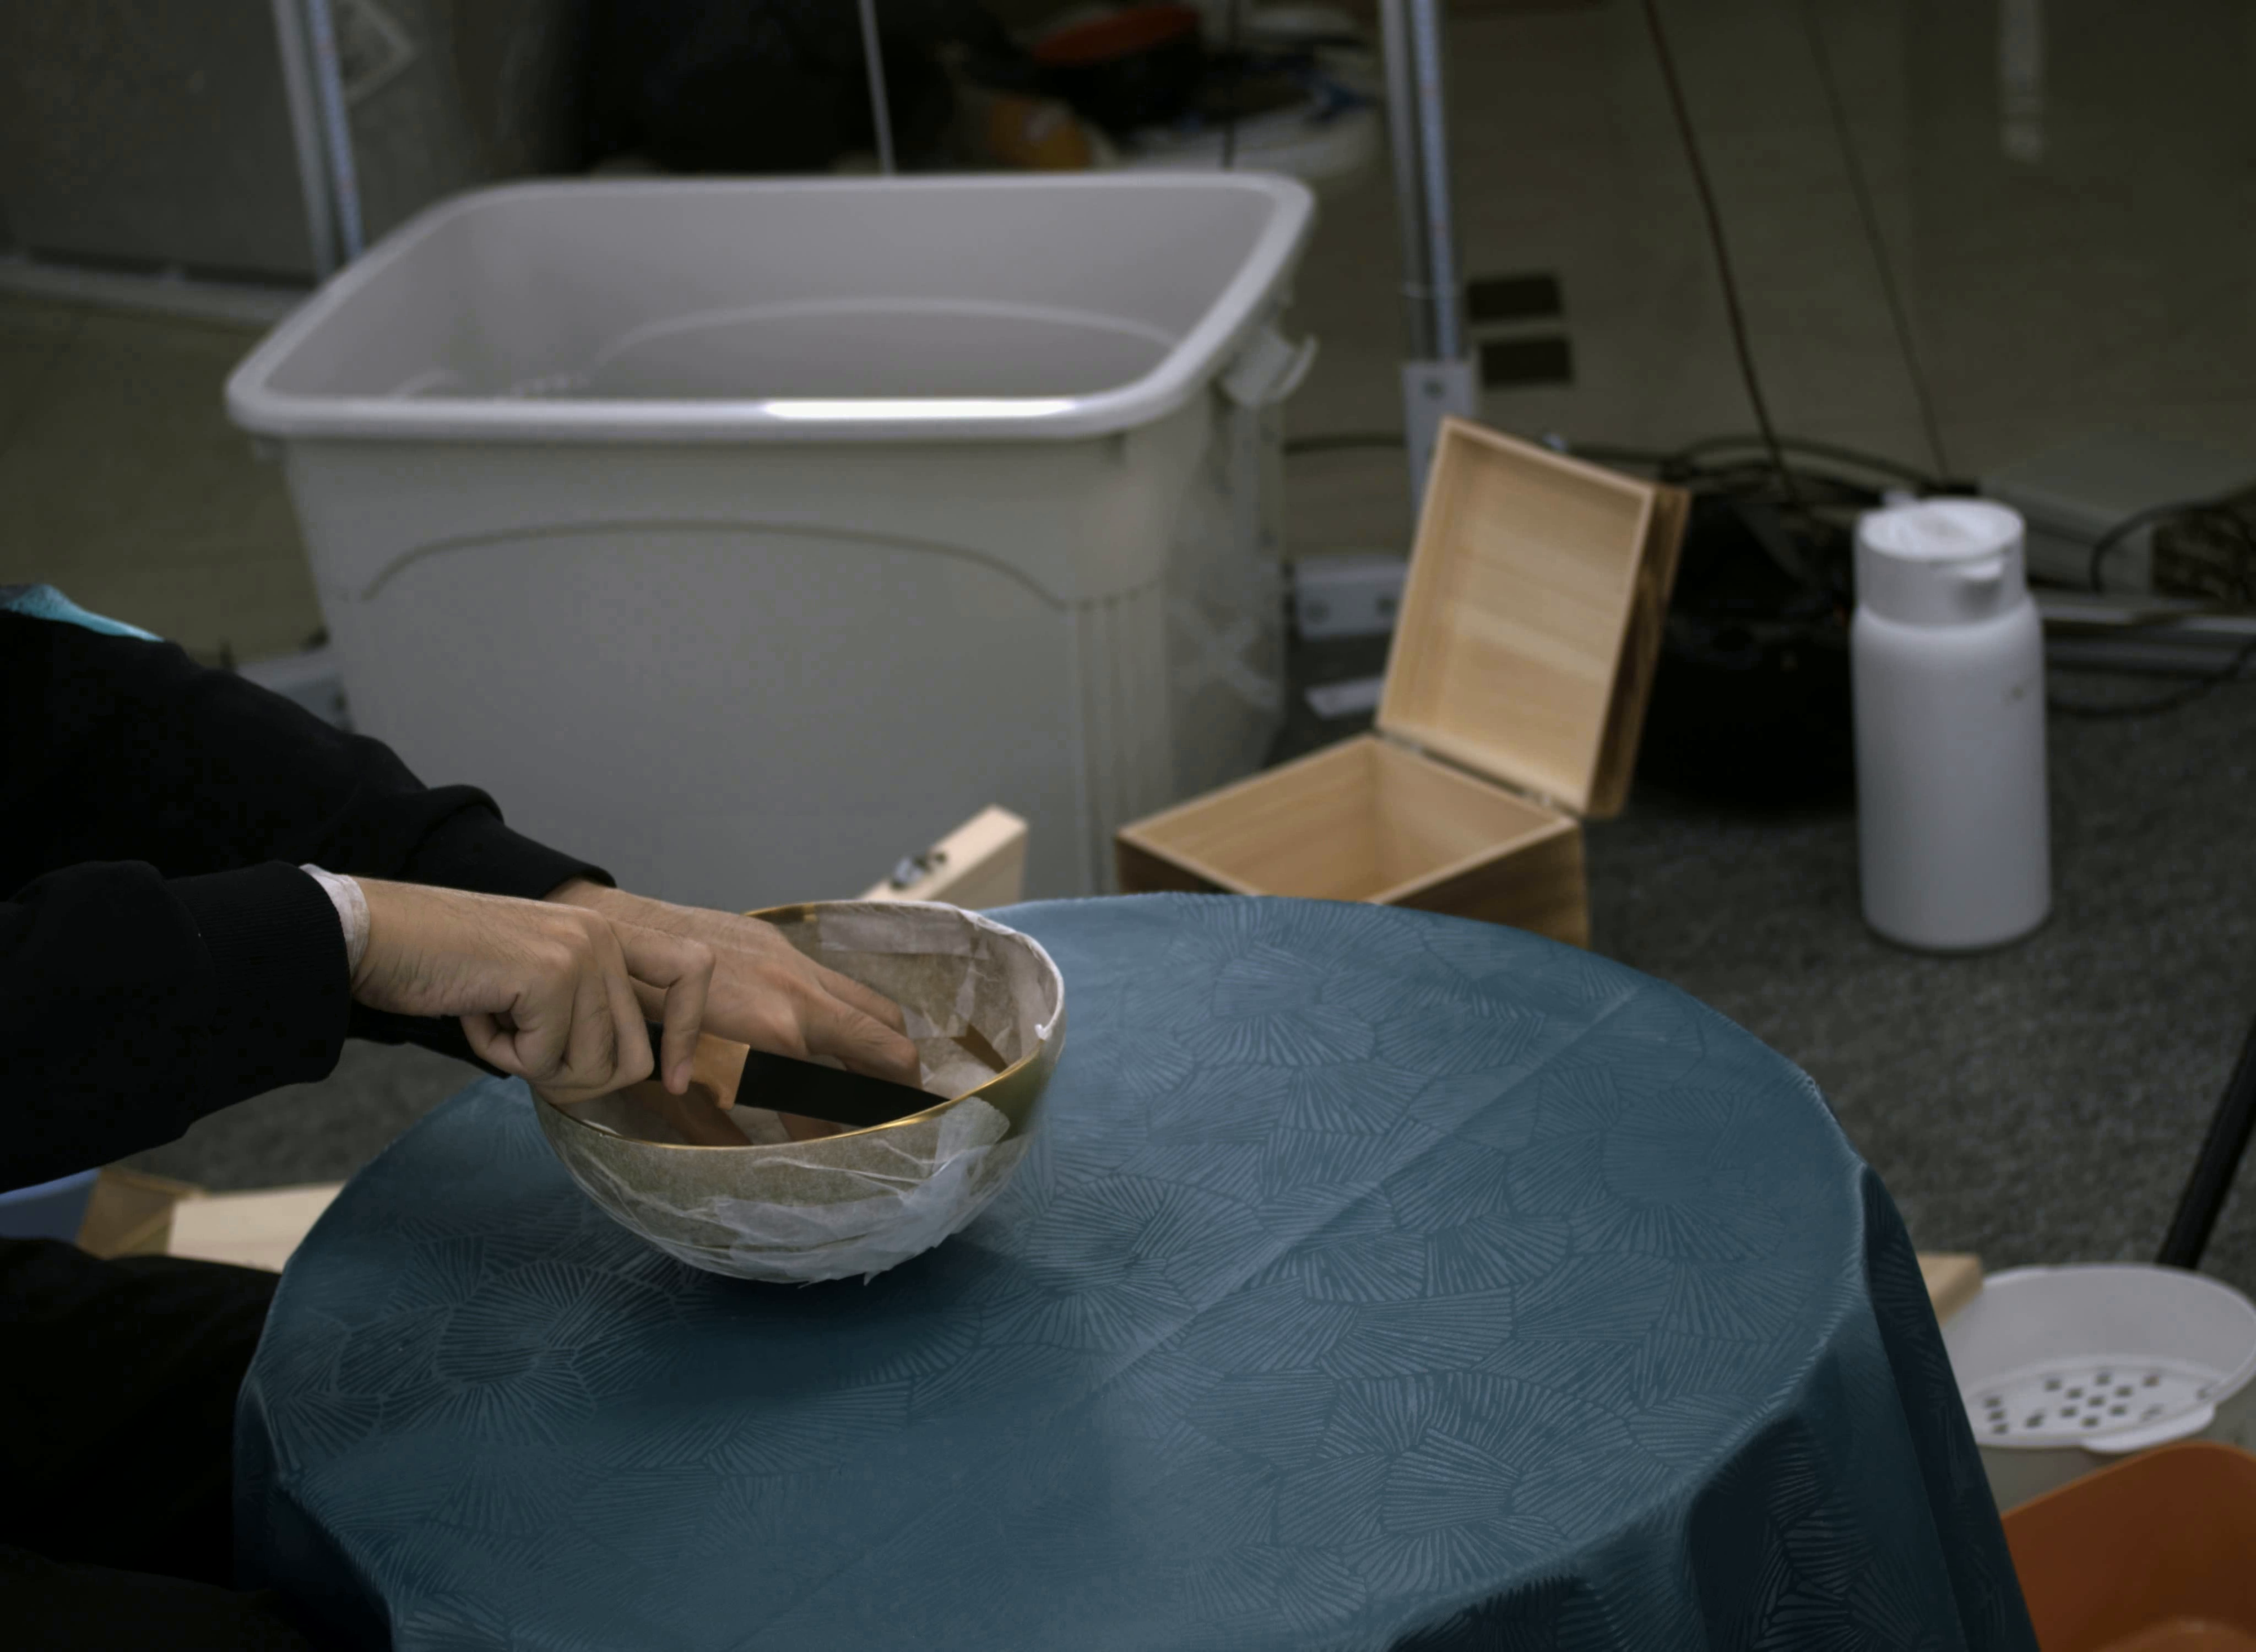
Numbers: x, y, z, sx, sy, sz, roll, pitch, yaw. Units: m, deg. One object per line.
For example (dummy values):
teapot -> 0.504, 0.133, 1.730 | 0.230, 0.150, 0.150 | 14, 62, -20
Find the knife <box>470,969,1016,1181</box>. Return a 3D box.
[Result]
knife -> -0.140, 0.092, 2.093 | 0.226, 0.026, 0.017 | 19, 7, -22

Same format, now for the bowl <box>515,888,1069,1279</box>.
bowl -> -0.123, 0.110, 2.123 | 0.214, 0.096, 0.211 | -4, 27, 2
